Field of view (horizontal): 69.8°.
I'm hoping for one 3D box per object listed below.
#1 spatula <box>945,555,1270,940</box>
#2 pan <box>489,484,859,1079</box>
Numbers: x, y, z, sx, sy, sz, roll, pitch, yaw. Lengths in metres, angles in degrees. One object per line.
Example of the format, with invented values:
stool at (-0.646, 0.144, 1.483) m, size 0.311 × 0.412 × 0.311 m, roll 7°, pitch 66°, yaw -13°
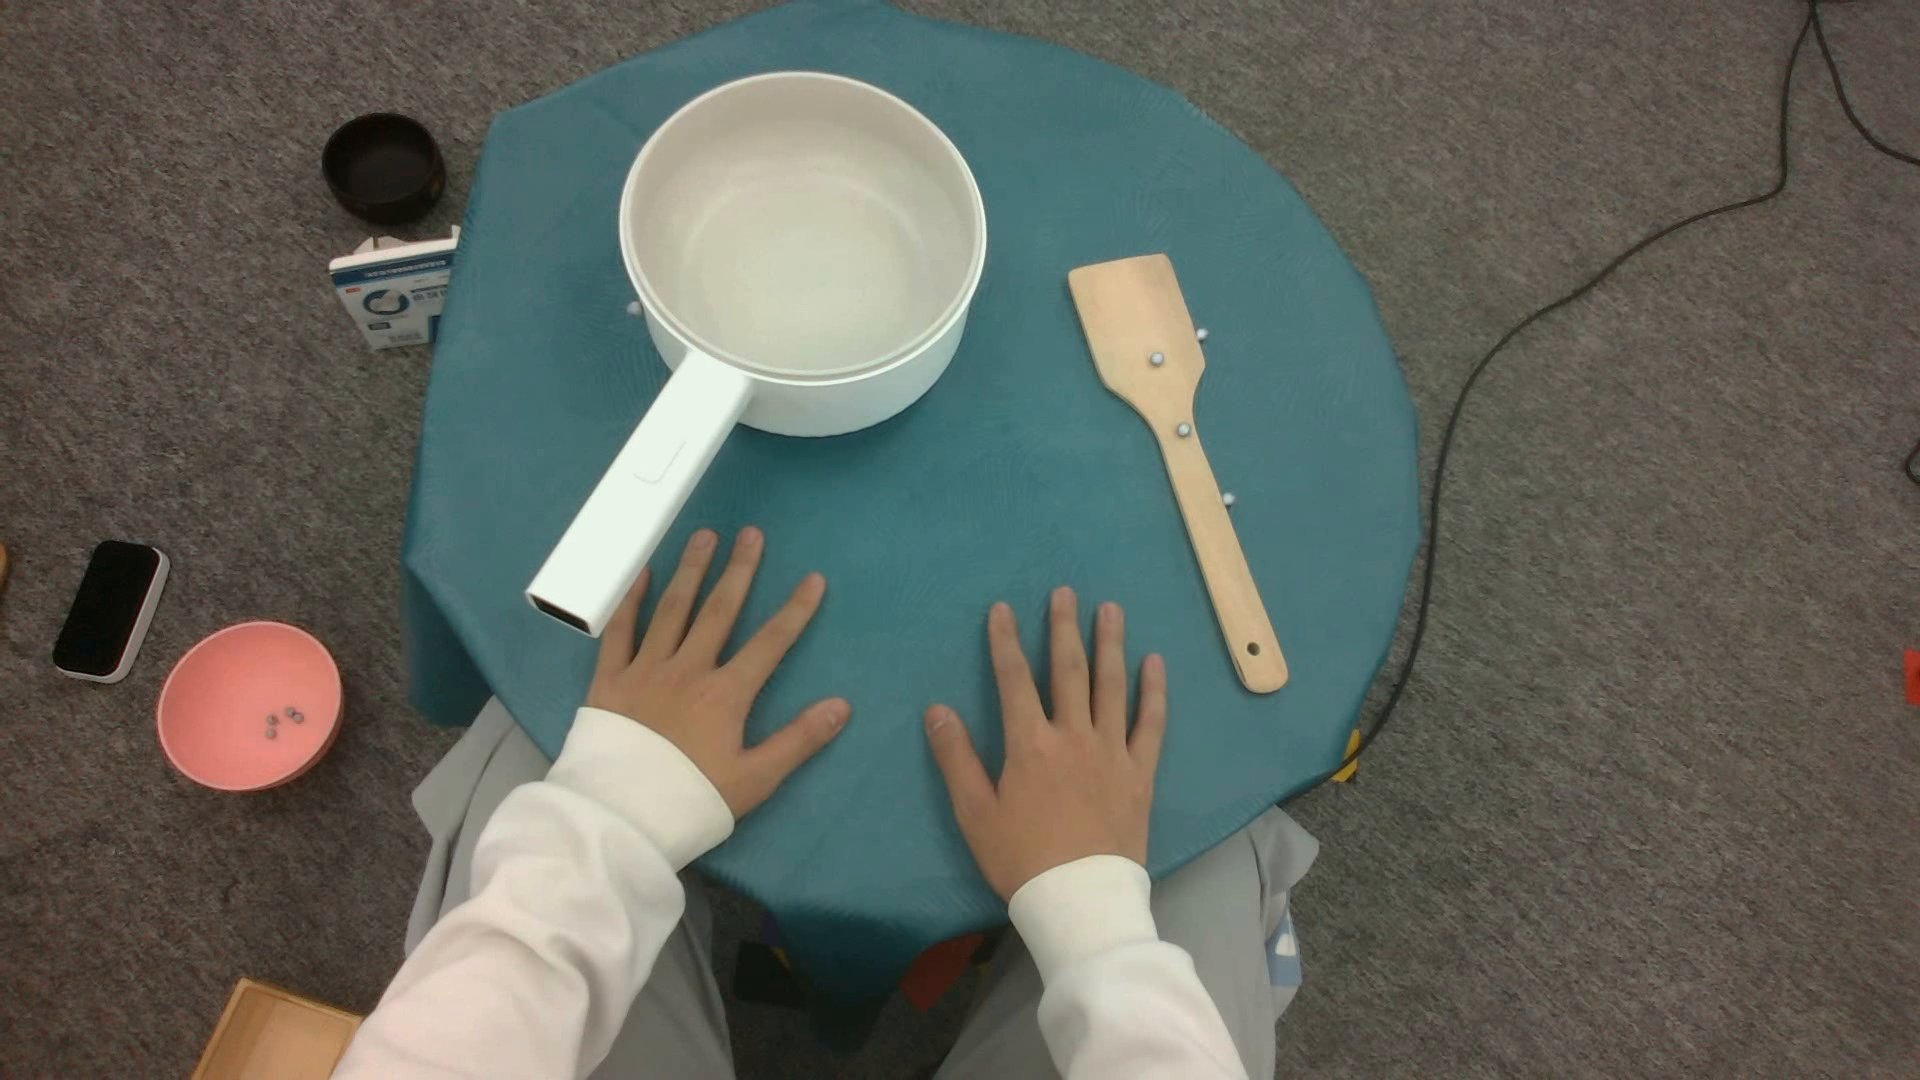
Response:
spatula at (0.094, 0.123, 0.856) m, size 0.072 × 0.010 × 0.293 m, roll -25°, pitch 57°, yaw -19°
pan at (-0.174, 0.135, 0.794) m, size 0.201 × 0.101 × 0.356 m, roll 8°, pitch 55°, yaw 6°
